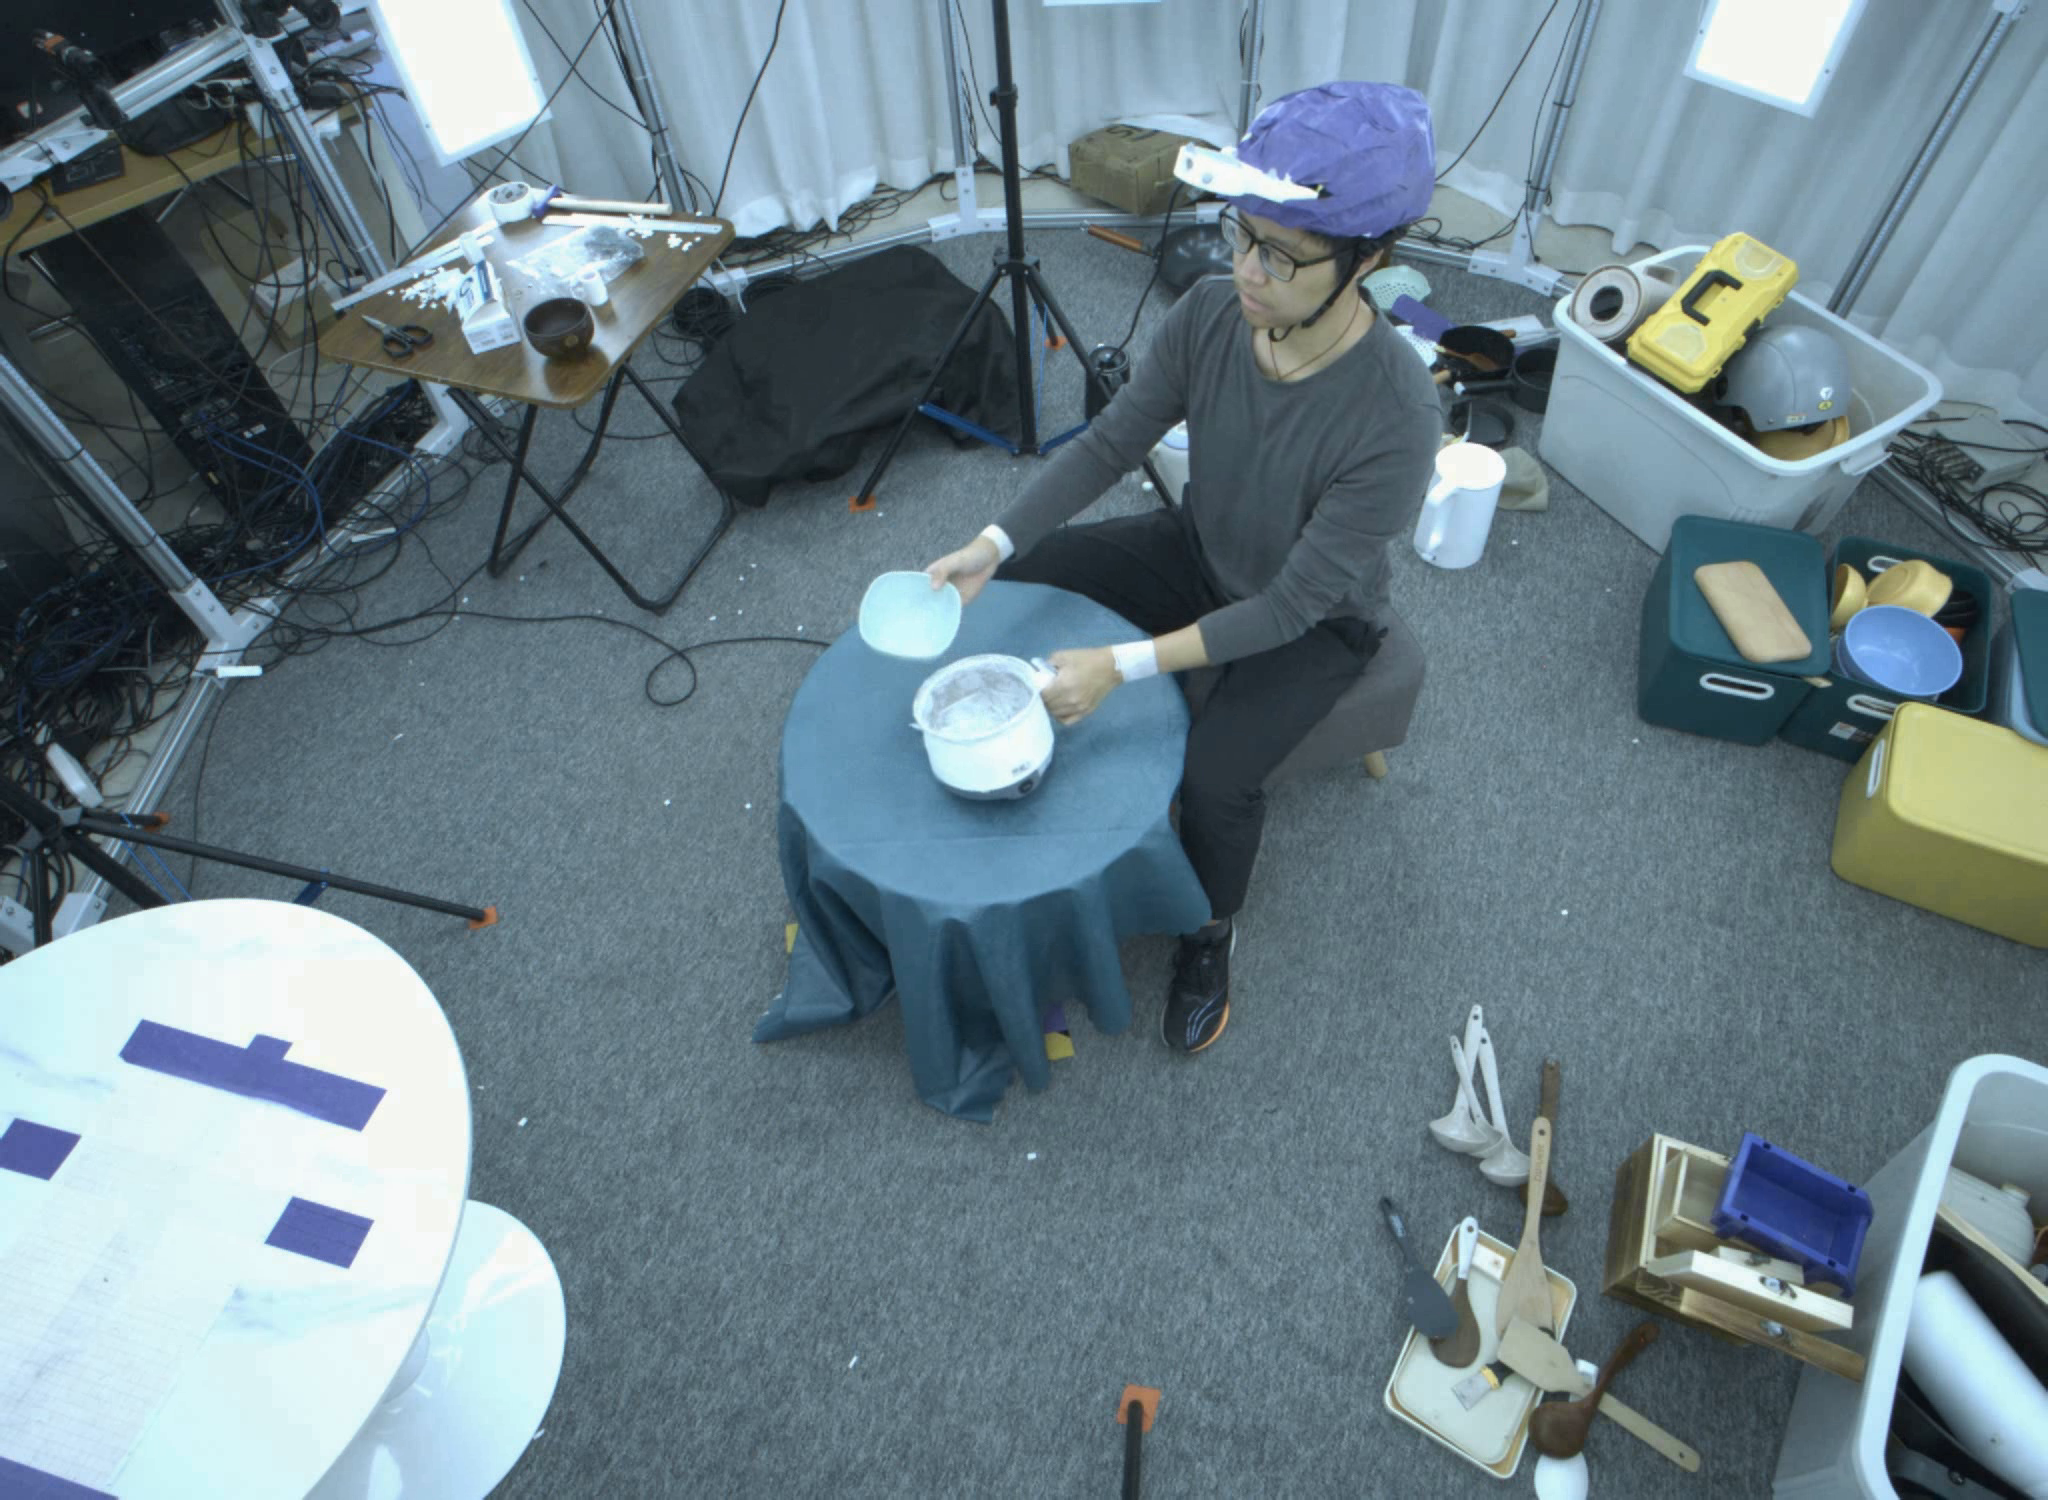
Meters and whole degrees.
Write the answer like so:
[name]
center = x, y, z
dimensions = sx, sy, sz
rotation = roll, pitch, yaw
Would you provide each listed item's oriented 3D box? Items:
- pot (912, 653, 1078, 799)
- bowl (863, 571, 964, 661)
[pot]
center = -0.031, -0.044, 1.728
dimensions = 0.235, 0.138, 0.174
rotation = -32, 45, -19
[bowl]
center = -0.156, -0.179, 1.727
dimensions = 0.152, 0.059, 0.150
rotation = 3, 65, -4
